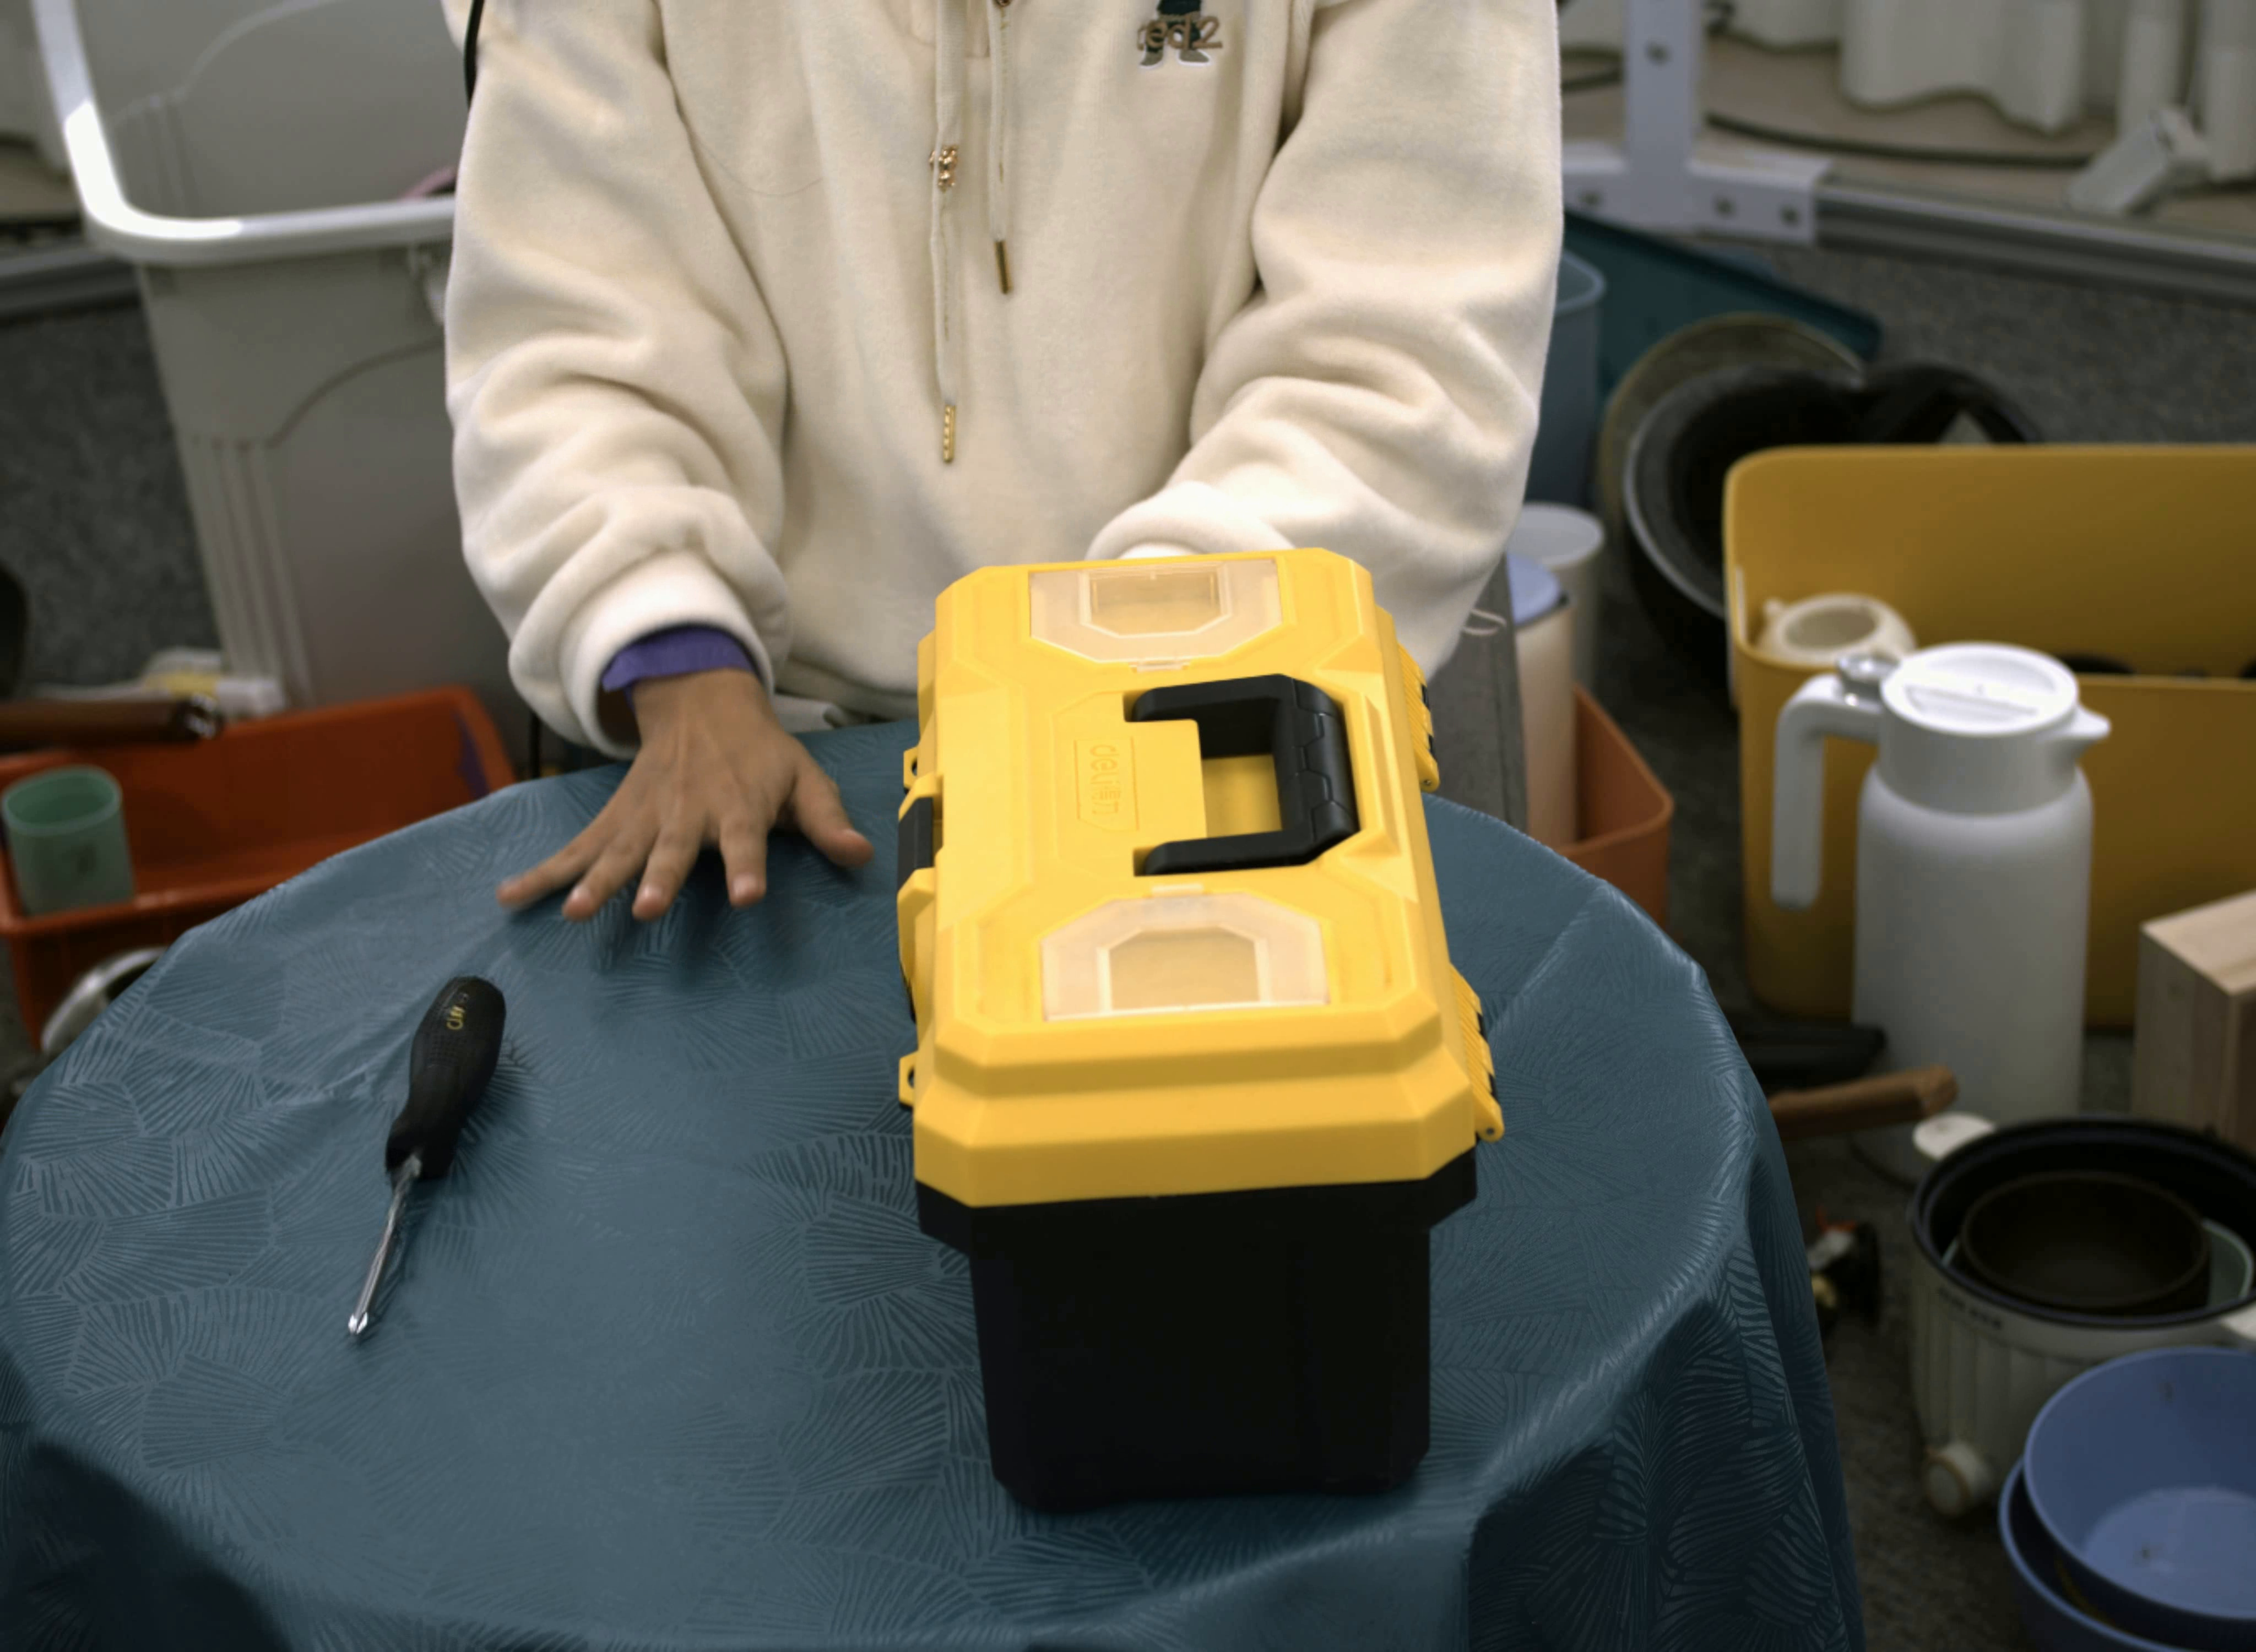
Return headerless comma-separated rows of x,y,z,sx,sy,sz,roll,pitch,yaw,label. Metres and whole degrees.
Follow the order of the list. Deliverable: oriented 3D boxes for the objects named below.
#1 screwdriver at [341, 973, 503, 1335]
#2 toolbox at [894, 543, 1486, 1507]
-0.239,0.108,1.877,0.031,0.031,0.199,1,29,7,screwdriver
0.017,0.056,1.799,0.180,0.171,0.357,-3,27,0,toolbox
